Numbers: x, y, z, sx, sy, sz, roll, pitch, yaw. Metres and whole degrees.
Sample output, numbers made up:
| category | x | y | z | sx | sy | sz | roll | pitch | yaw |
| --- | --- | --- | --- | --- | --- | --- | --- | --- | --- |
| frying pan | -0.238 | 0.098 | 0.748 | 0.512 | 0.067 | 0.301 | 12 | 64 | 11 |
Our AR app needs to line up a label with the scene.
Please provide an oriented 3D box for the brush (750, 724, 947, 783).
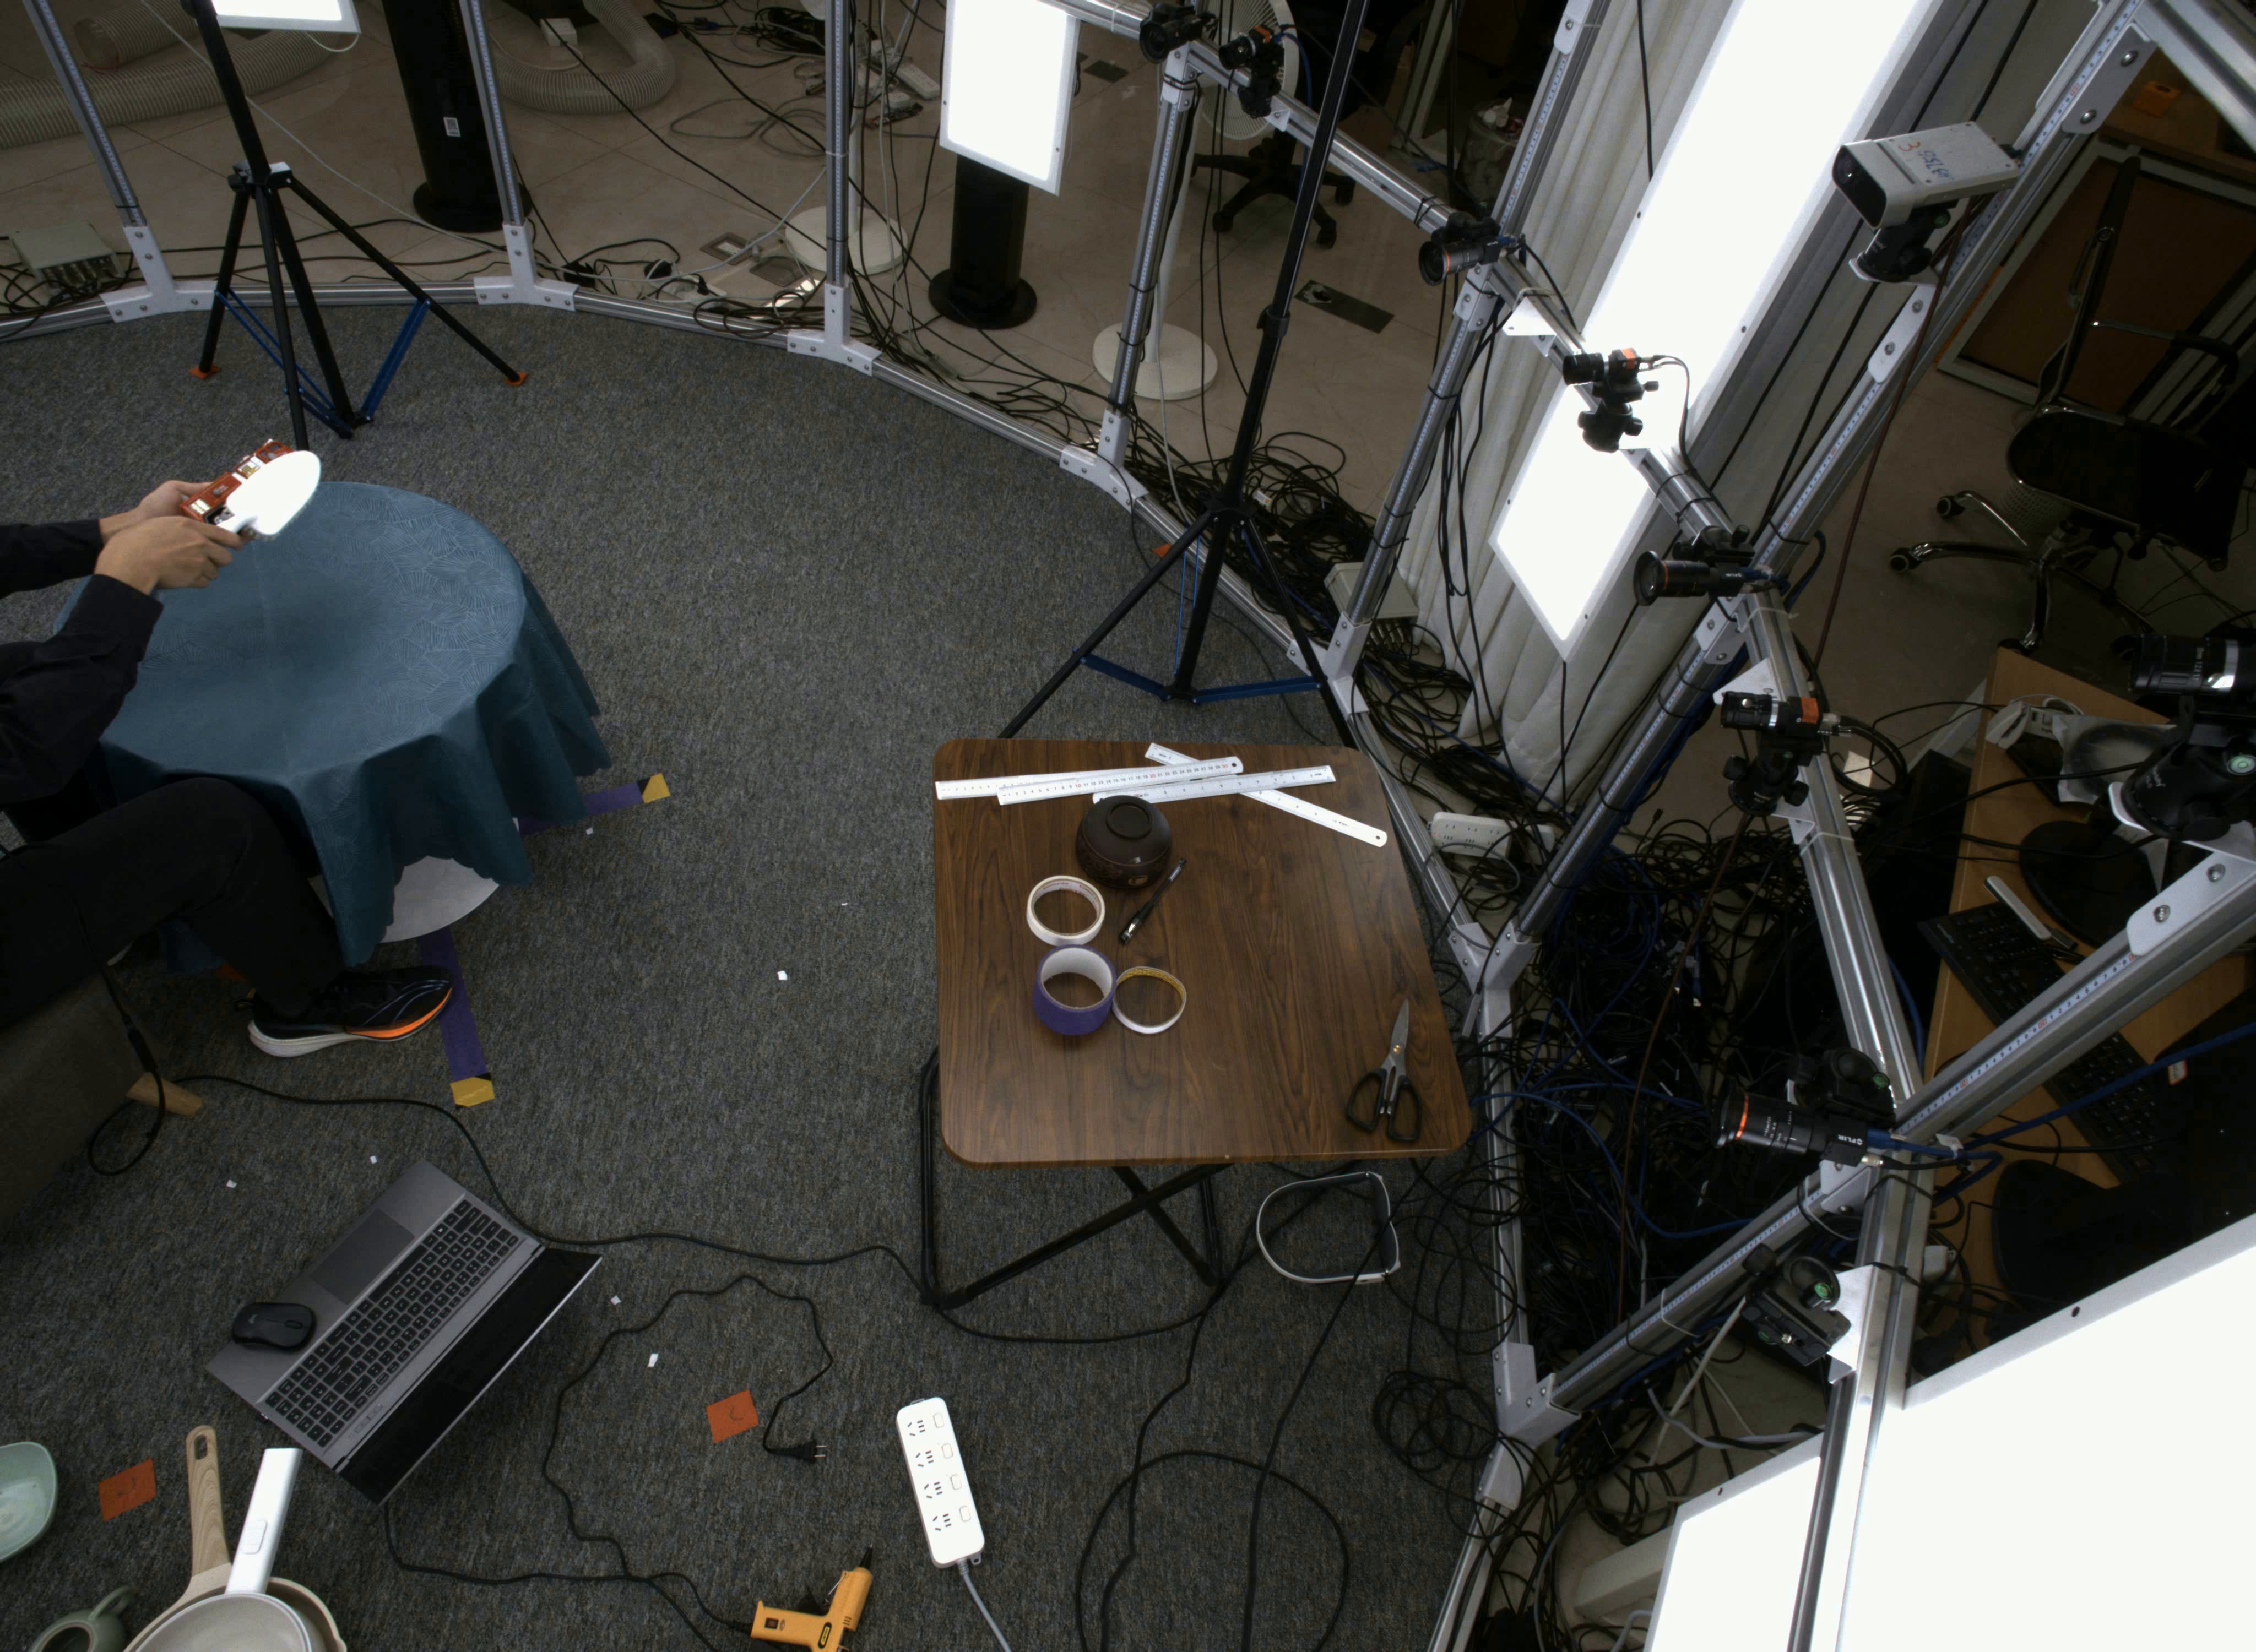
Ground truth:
| category | x | y | z | sx | sy | sz | roll | pitch | yaw |
| --- | --- | --- | --- | --- | --- | --- | --- | --- | --- |
| brush | -0.411 | -0.098 | 1.899 | 0.329 | 0.087 | 0.080 | -15 | 32 | -41 |

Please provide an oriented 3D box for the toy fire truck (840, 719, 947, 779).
| category | x | y | z | sx | sy | sz | roll | pitch | yaw |
| --- | --- | --- | --- | --- | --- | --- | --- | --- | --- |
| toy fire truck | -0.363 | -0.122 | 2.009 | 0.169 | 0.055 | 0.068 | -15 | 54 | -30 |
